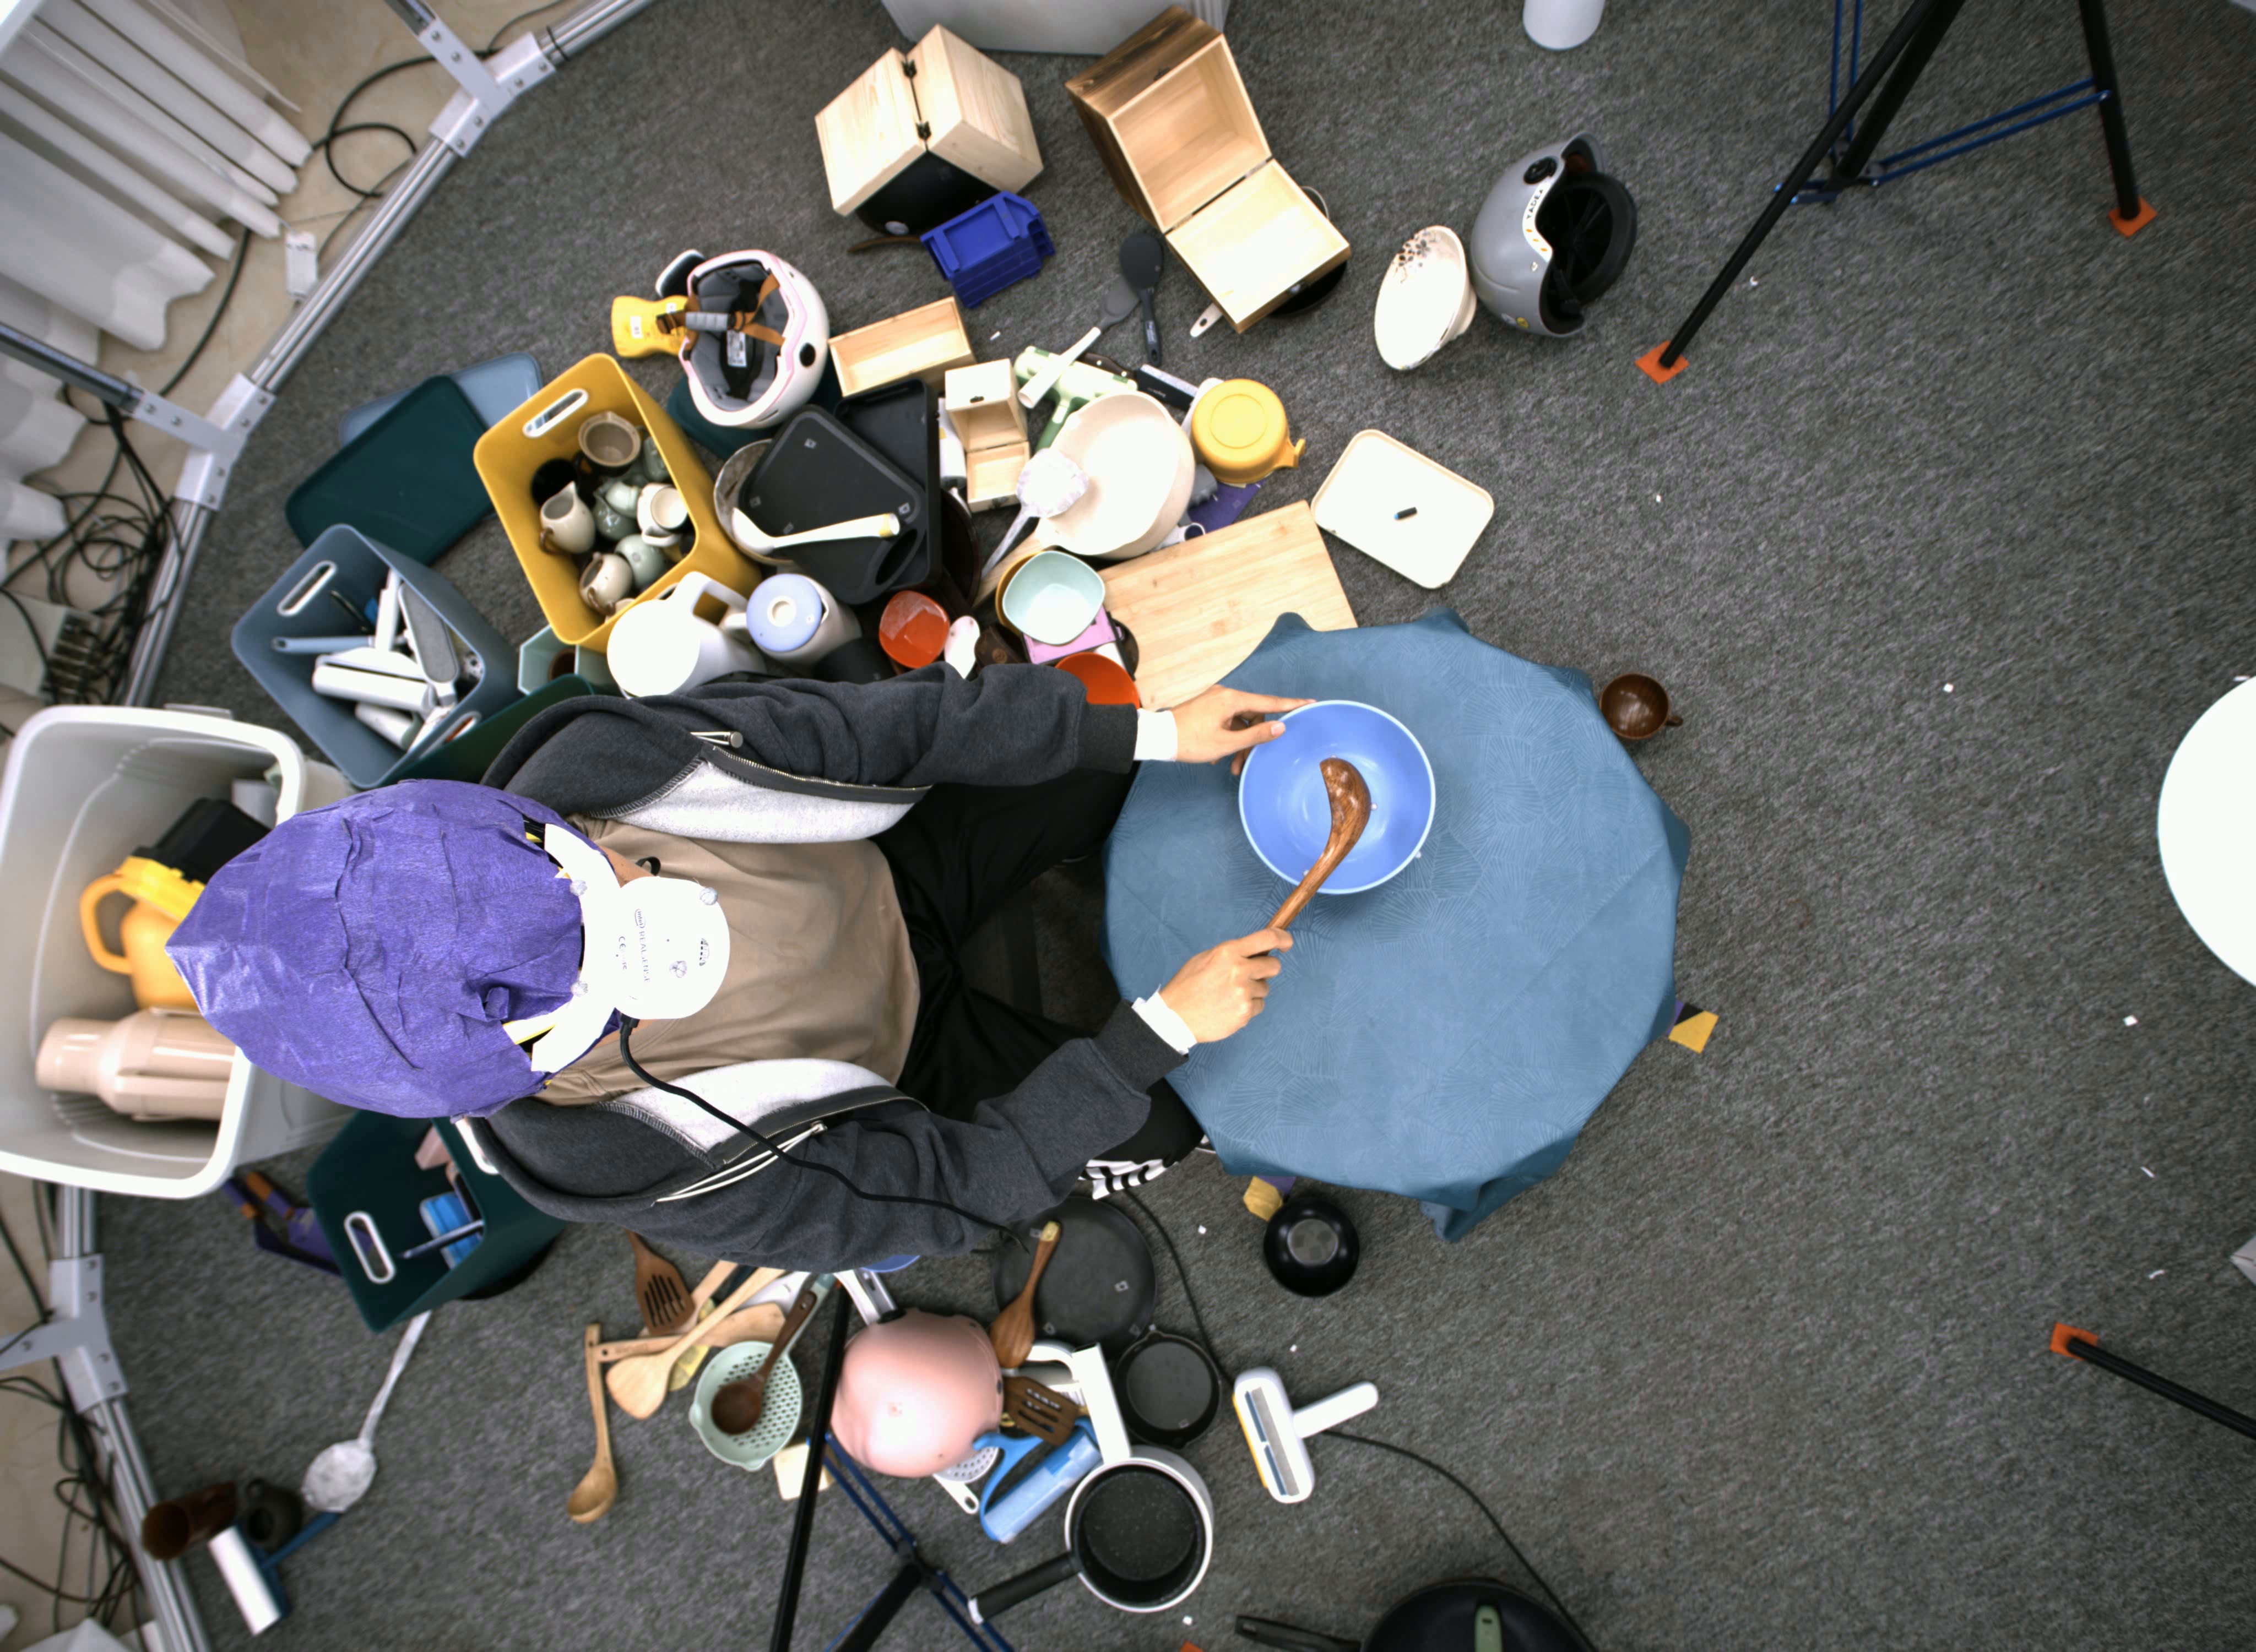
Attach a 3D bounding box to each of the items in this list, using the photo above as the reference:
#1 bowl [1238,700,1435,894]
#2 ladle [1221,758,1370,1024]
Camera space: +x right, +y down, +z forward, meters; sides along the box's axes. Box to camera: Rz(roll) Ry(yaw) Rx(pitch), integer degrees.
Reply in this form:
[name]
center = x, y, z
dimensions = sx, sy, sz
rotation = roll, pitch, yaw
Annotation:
[bowl]
center = 0.217, -0.026, 1.427
dimensions = 0.197, 0.095, 0.196
rotation = -1, 87, 11
[ladle]
center = 0.148, 0.057, 1.335
dimensions = 0.076, 0.082, 0.274
rotation = 34, 89, 41
